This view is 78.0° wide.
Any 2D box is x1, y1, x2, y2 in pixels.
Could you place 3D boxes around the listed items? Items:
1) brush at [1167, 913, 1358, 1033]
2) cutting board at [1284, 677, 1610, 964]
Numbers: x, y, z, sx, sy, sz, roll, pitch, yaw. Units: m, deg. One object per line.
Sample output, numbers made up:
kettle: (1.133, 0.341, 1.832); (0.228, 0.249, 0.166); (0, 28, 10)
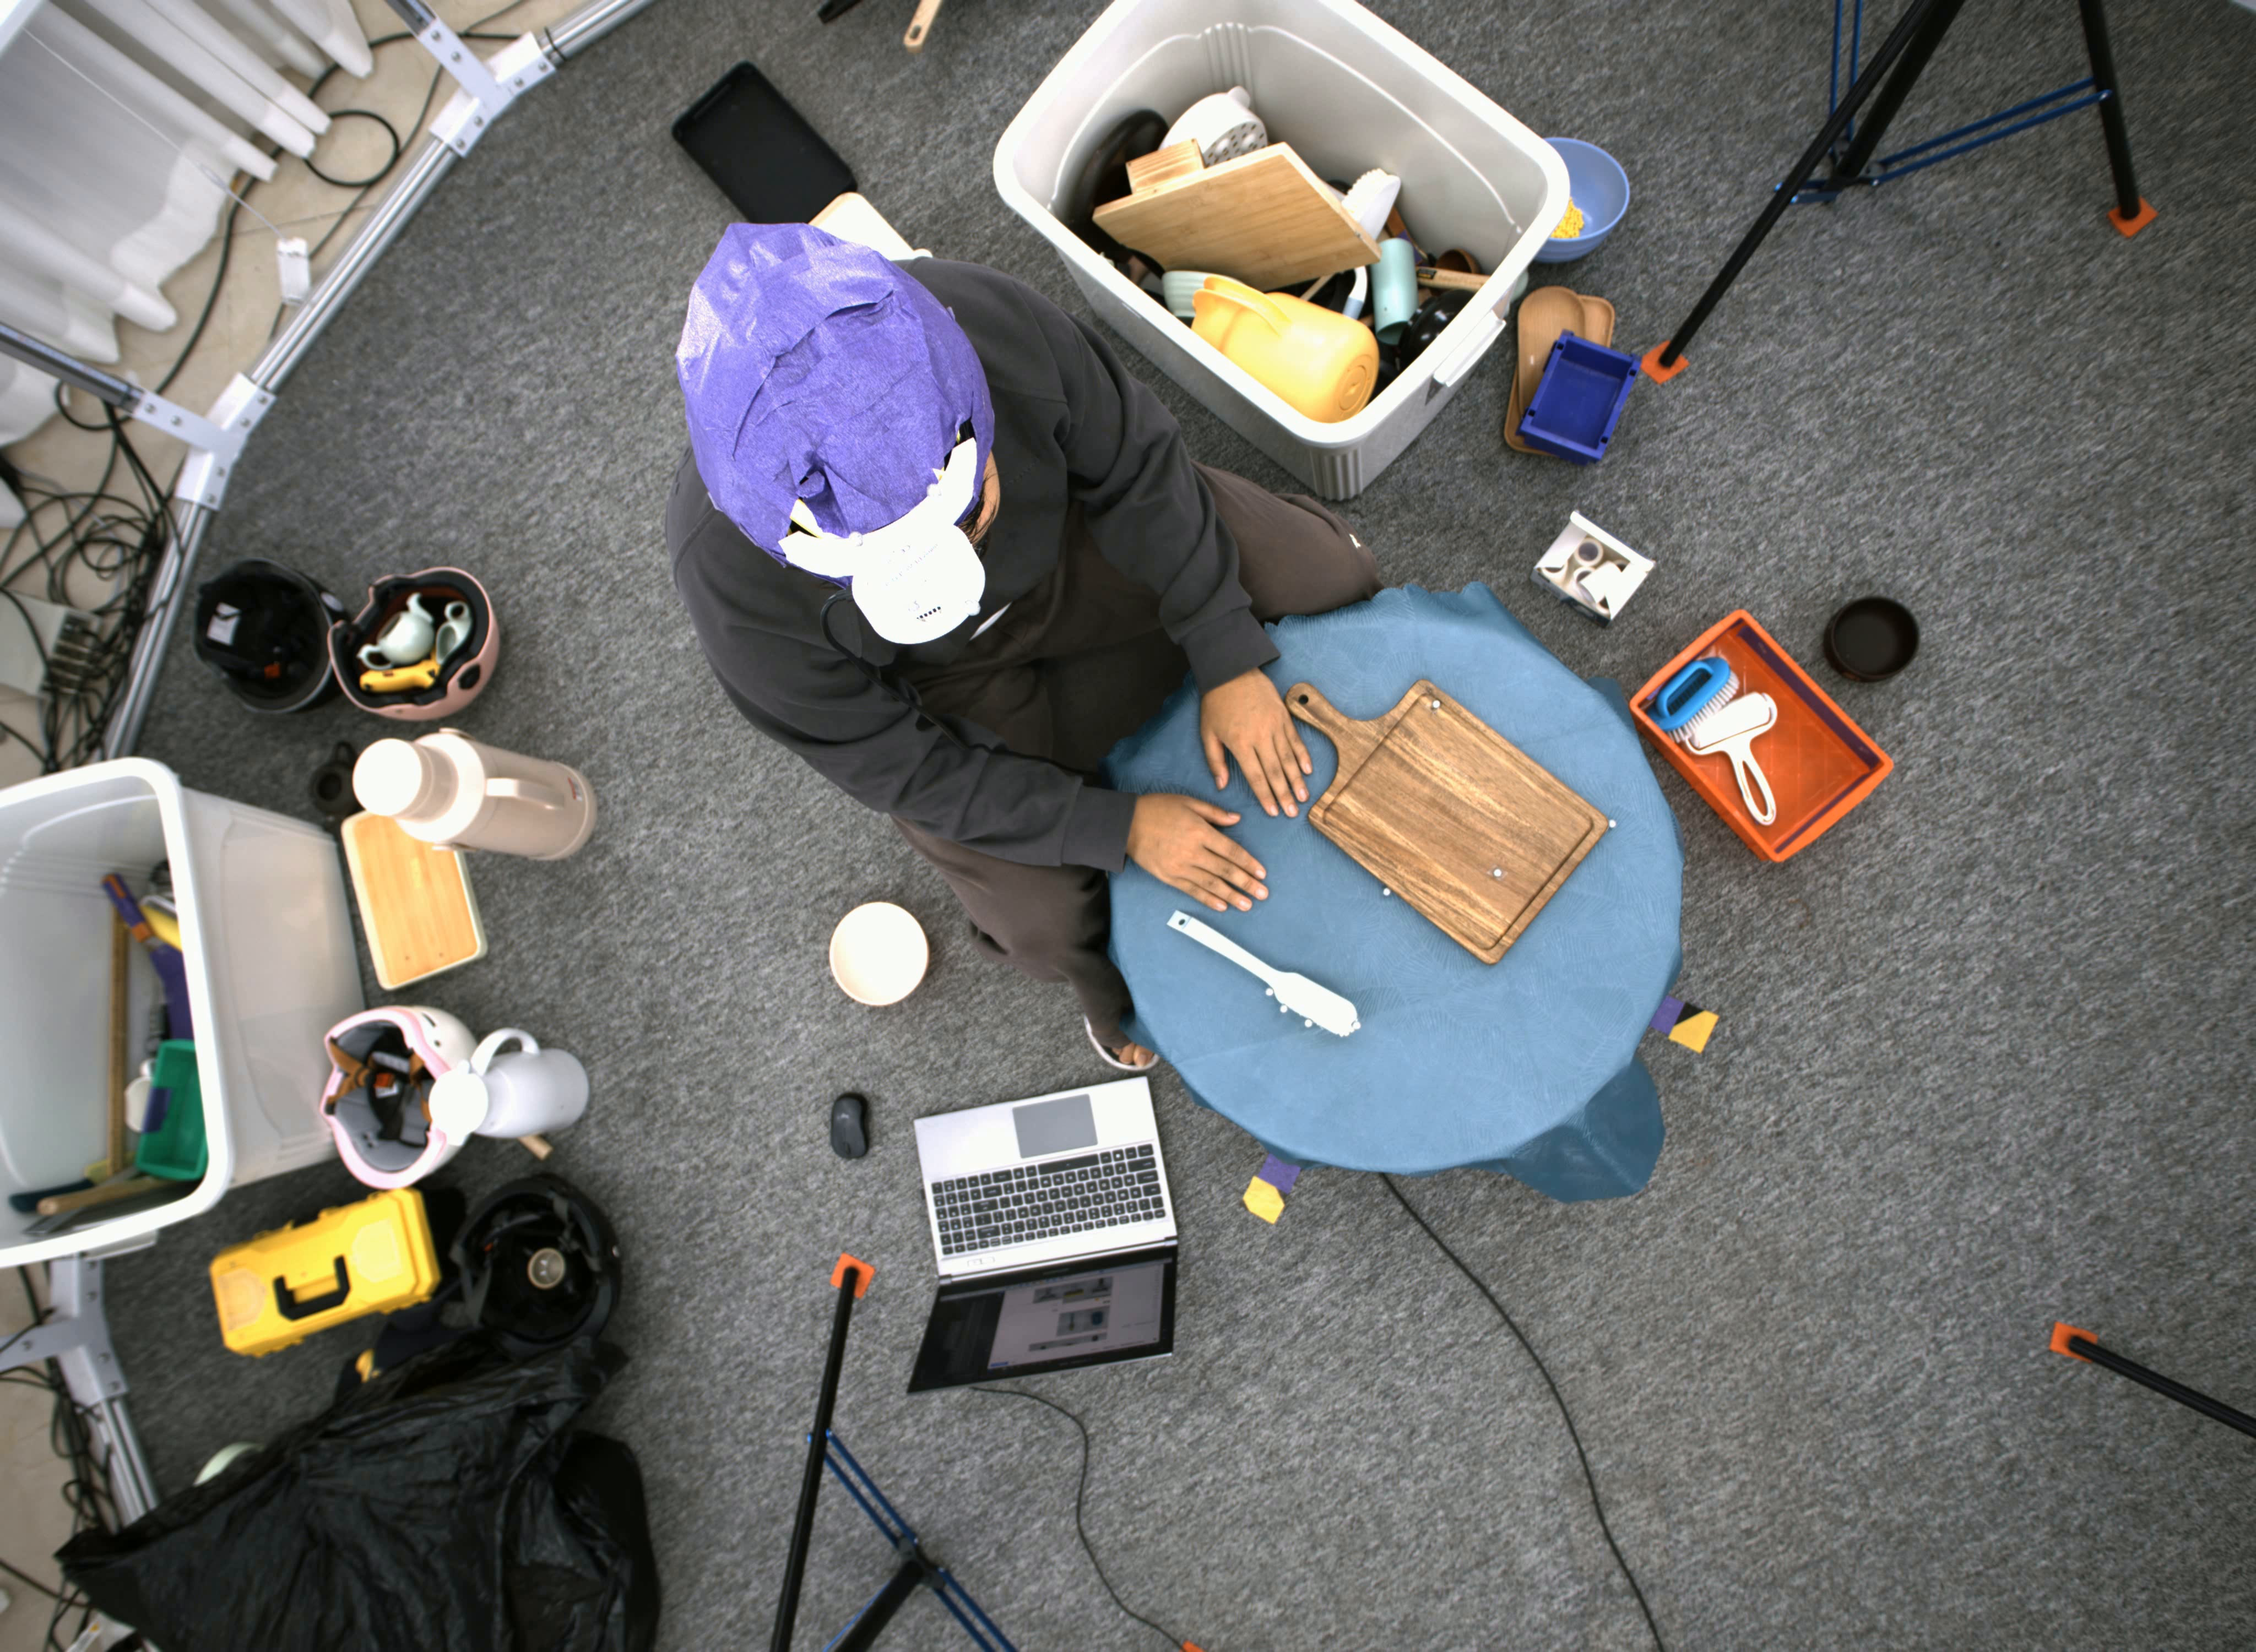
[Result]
brush: (0.140, 0.154, 1.465); (0.228, 0.050, 0.037); (28, 78, 19)
cutting board: (0.307, -0.041, 1.450); (0.351, 0.023, 0.201); (40, 94, 11)
